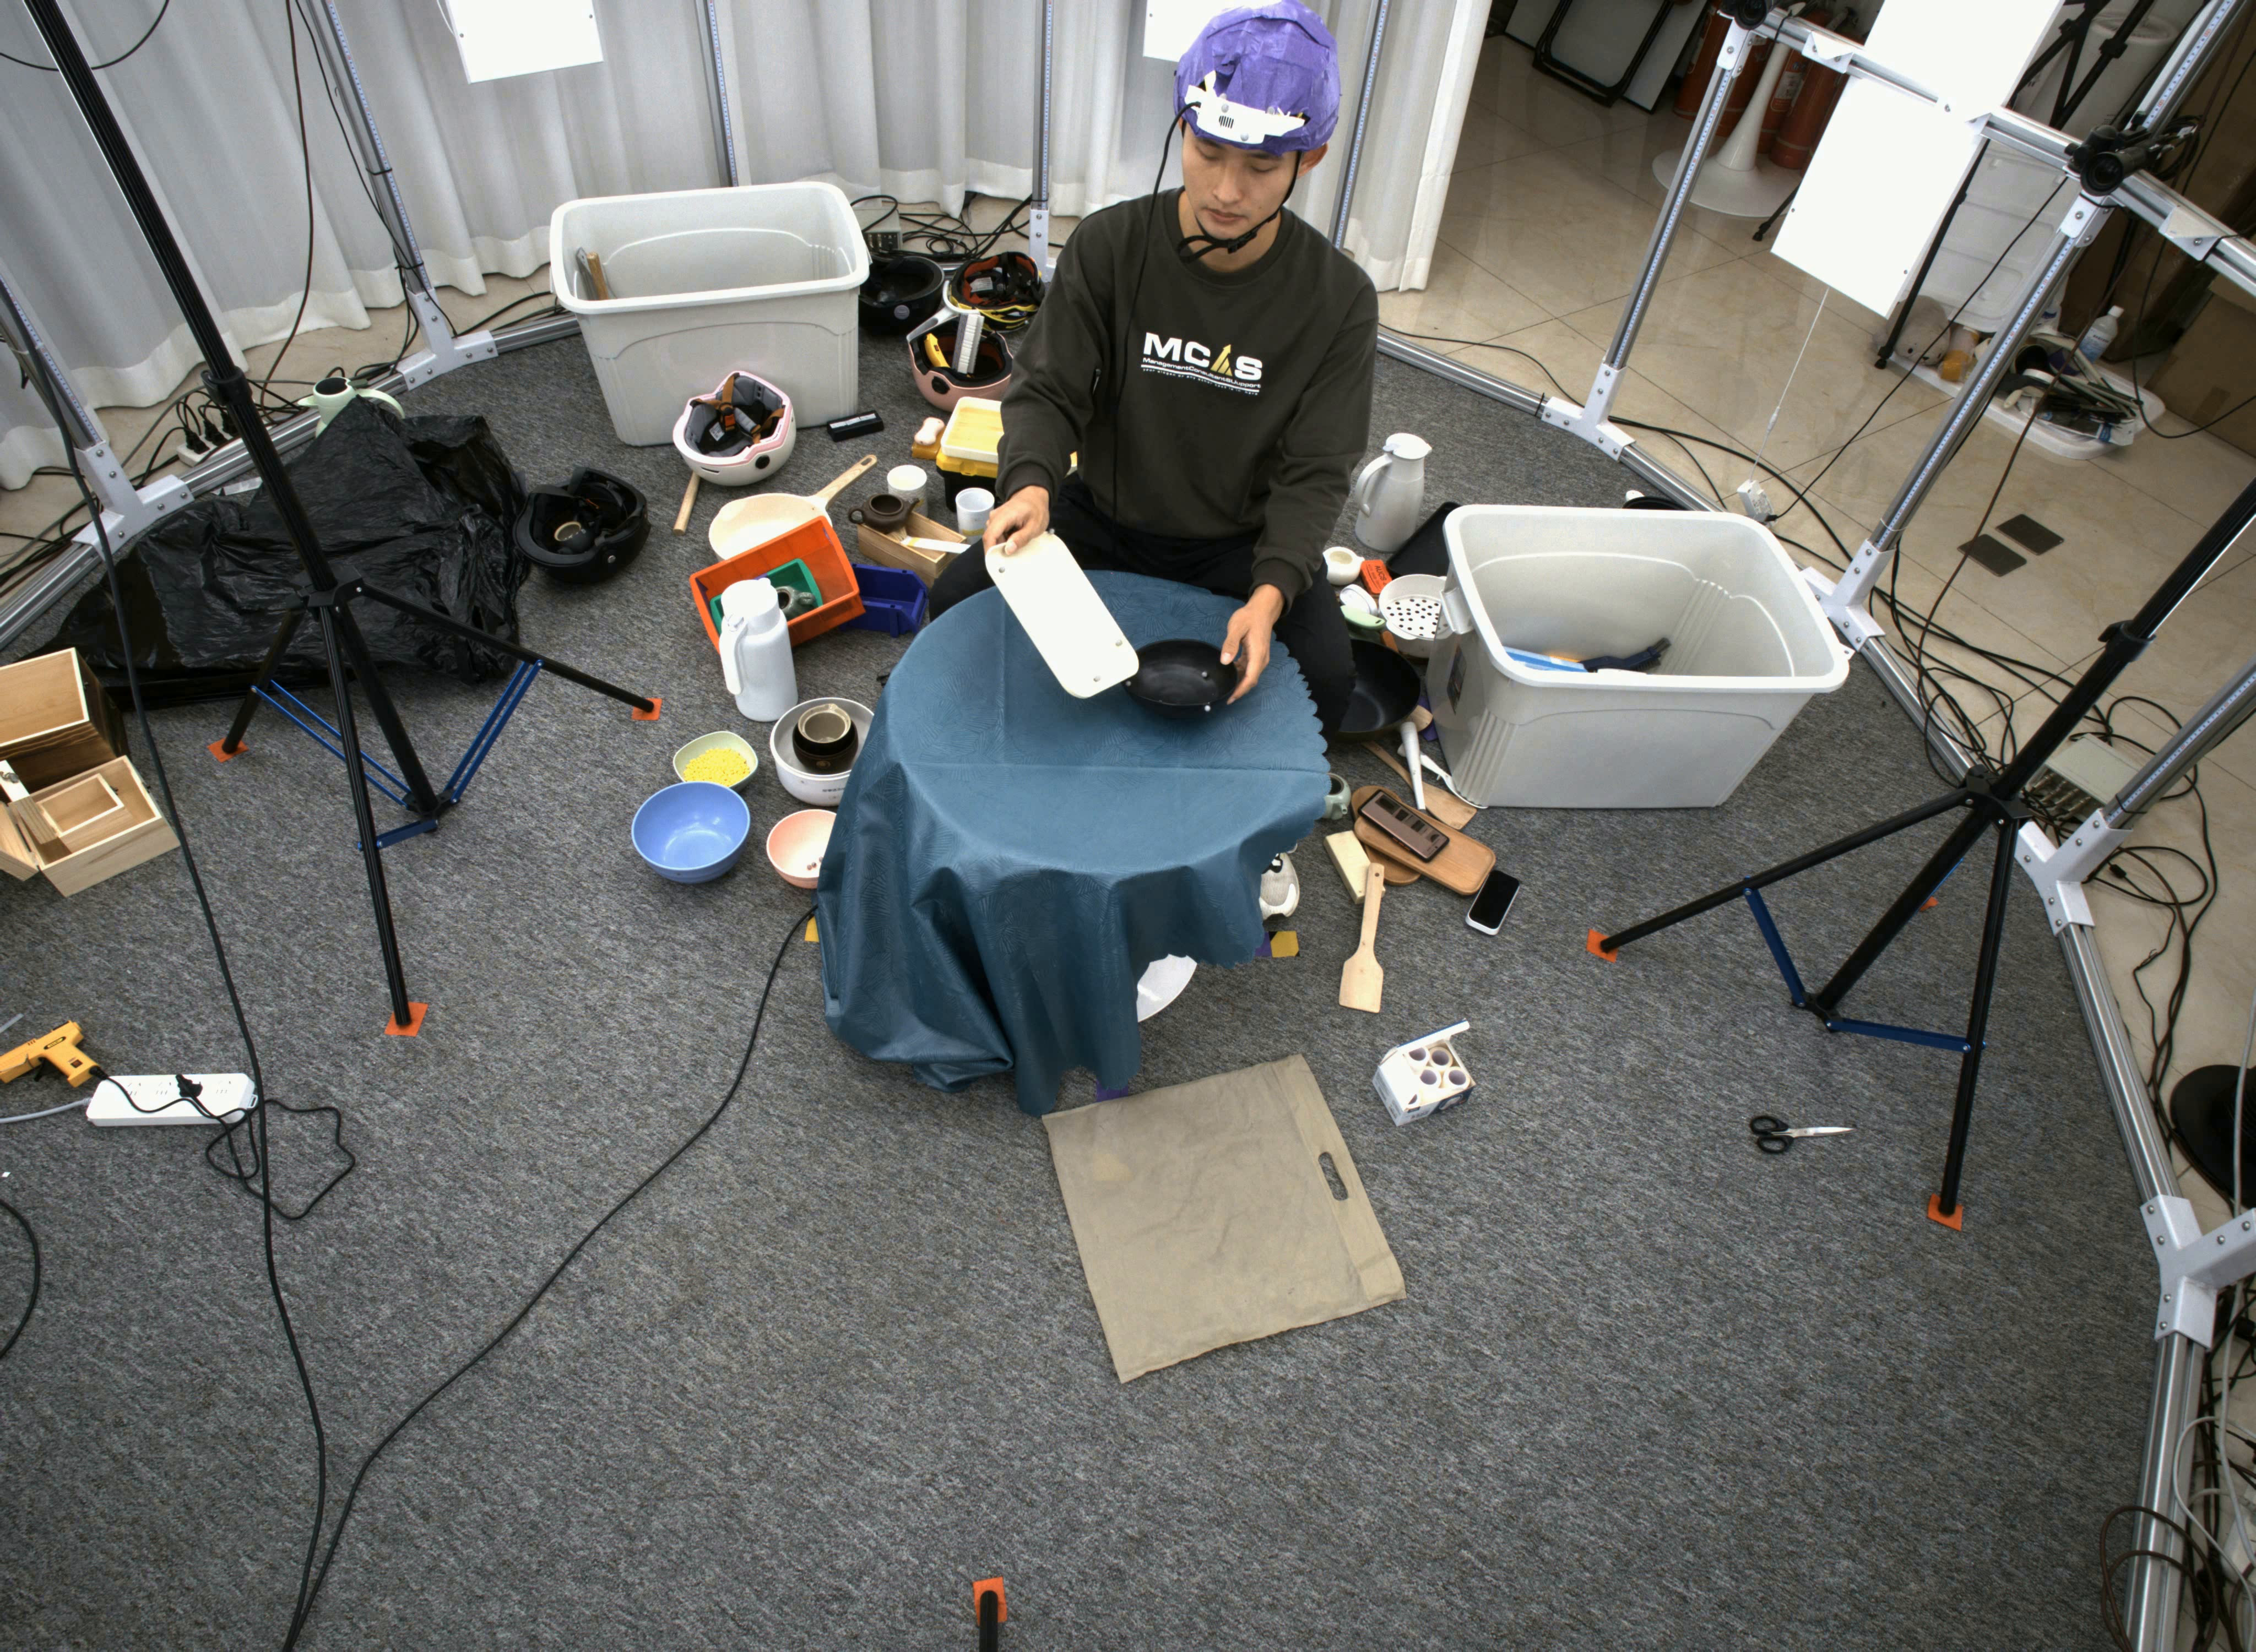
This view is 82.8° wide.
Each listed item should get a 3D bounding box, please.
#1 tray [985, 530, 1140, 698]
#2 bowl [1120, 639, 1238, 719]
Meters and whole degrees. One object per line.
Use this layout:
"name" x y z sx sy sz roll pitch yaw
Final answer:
"tray" -0.089 -0.289 1.754 0.240 0.017 0.173 56 40 2
"bowl" 0.070 -0.194 1.794 0.171 0.065 0.140 10 48 15
